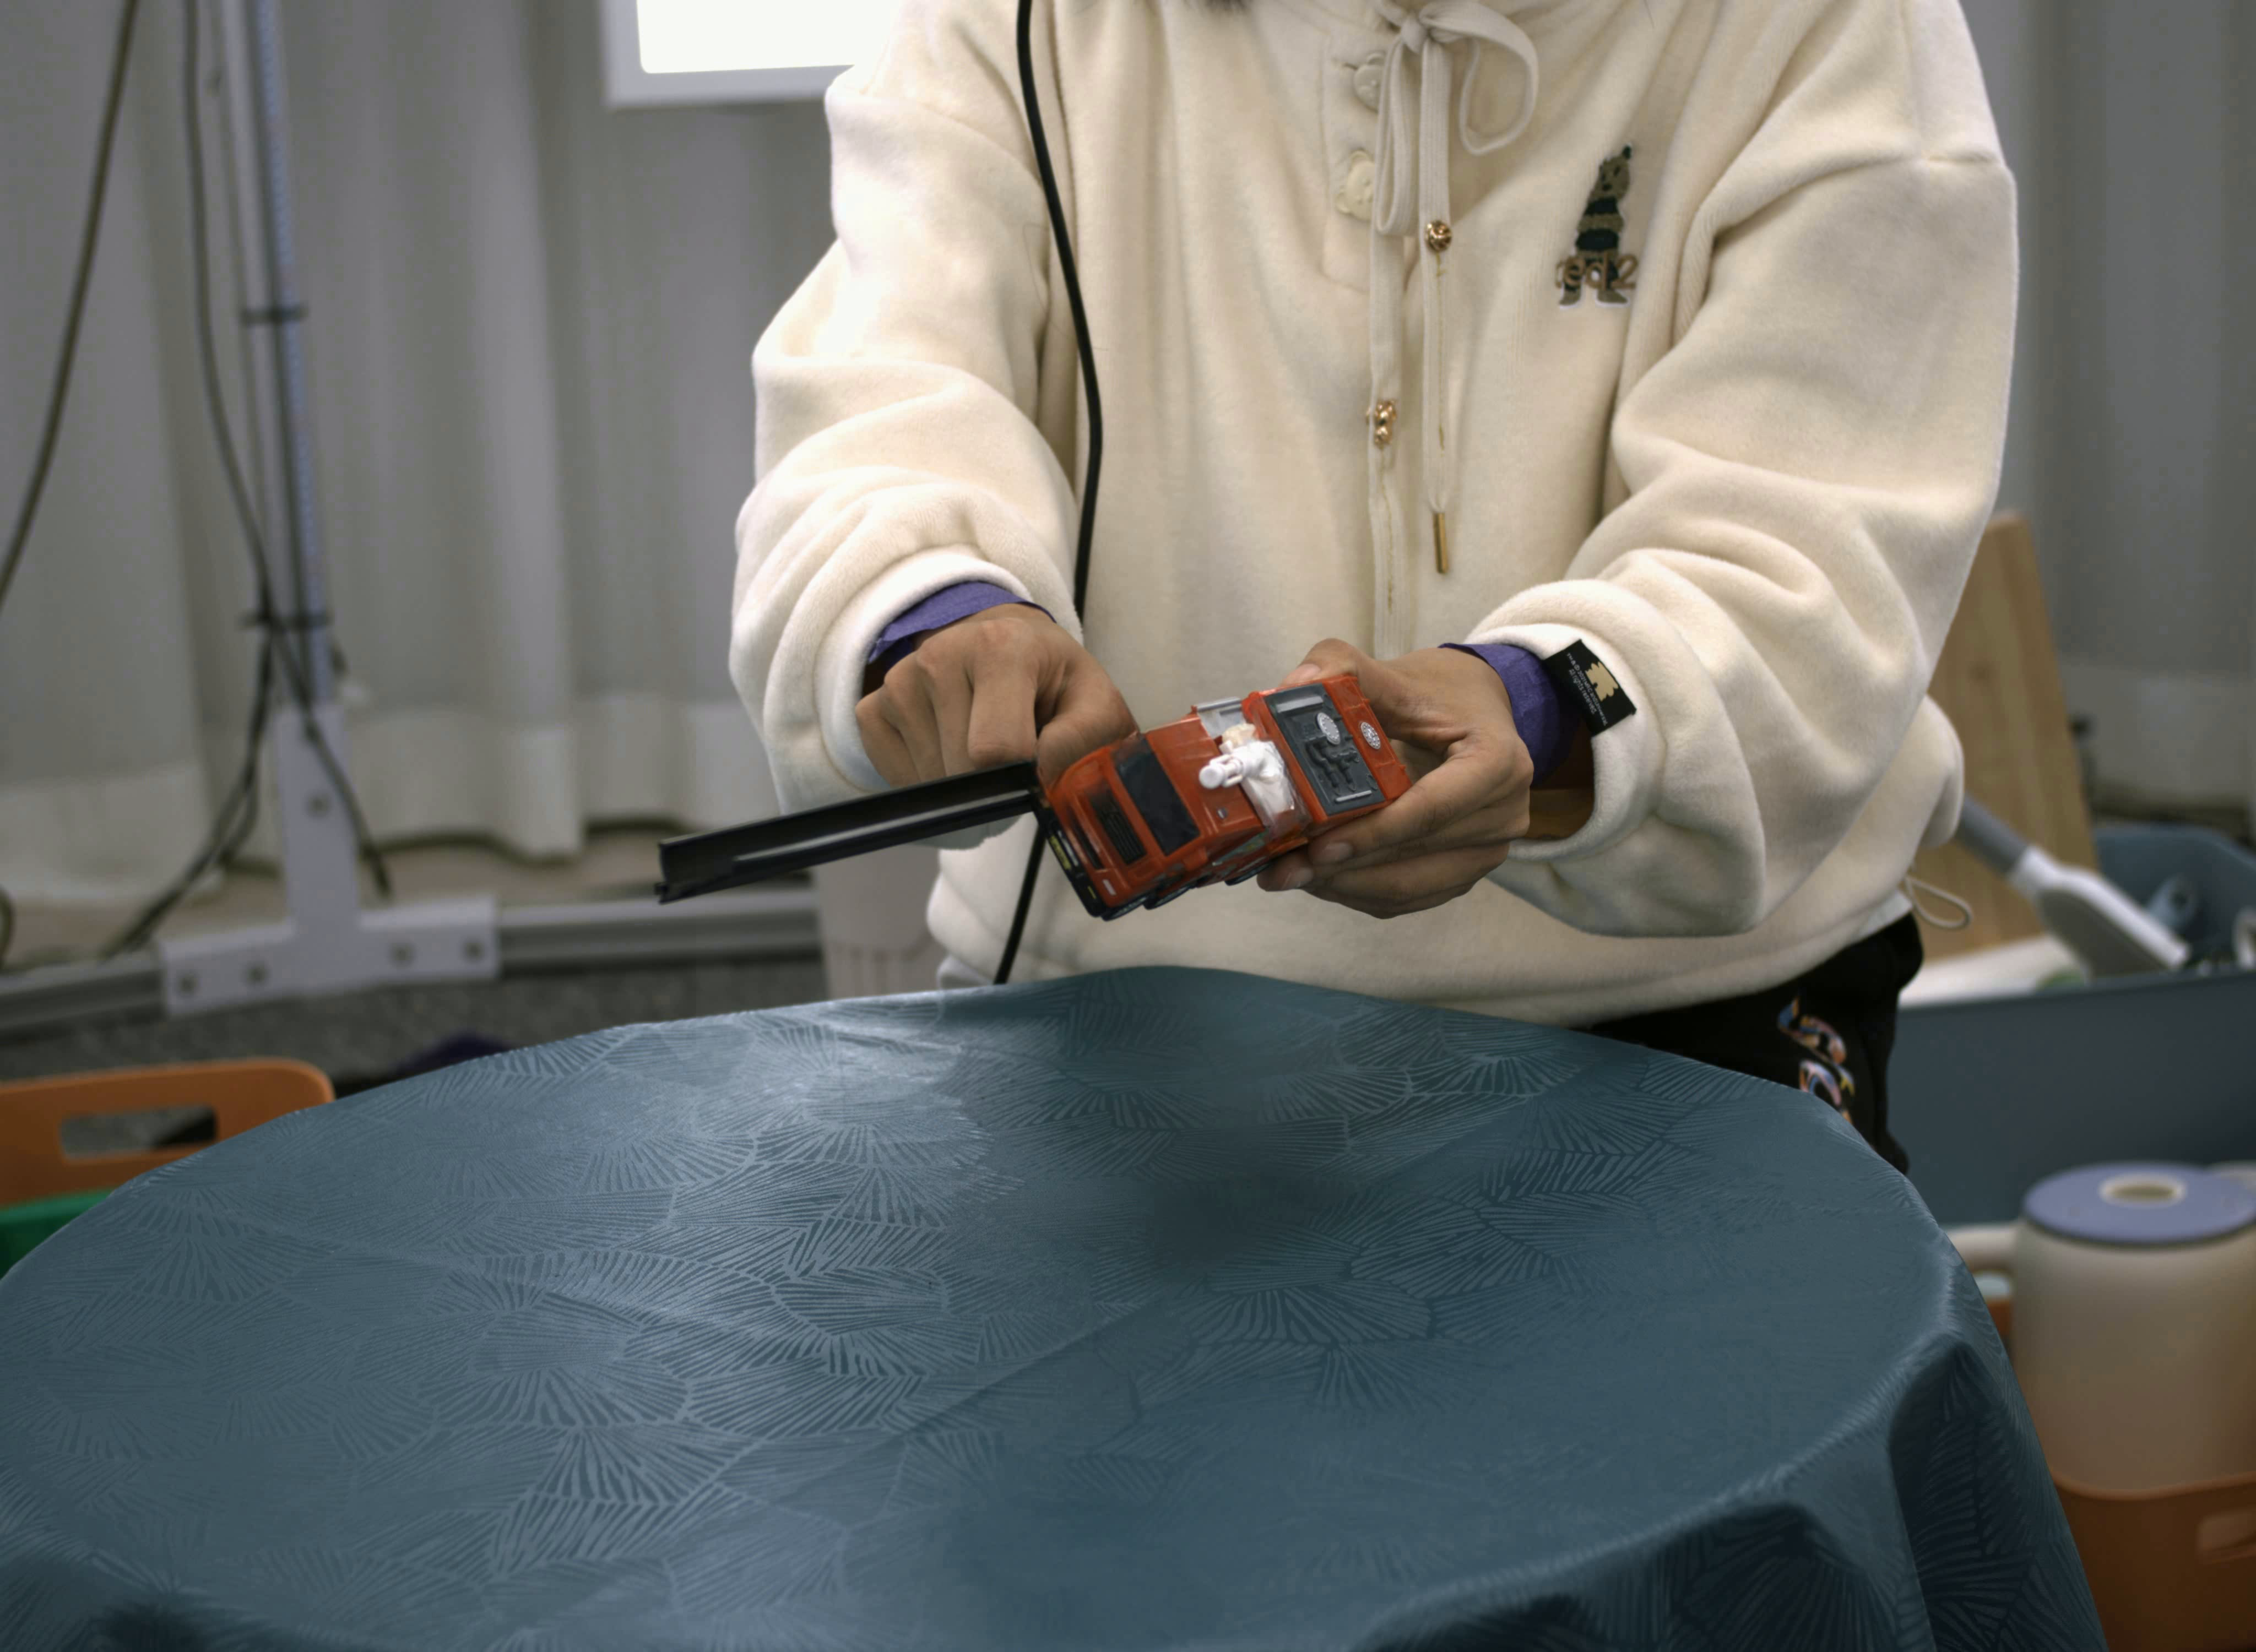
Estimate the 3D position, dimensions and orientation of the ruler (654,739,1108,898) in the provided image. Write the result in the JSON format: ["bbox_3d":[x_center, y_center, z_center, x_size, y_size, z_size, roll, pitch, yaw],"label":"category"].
[{"bbox_3d":[-0.047,-0.010,1.597,0.039,0.017,0.312,-19,-2,26],"label":"ruler"}]

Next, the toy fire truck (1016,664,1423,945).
[{"bbox_3d":[0.030,-0.008,1.645,0.070,0.054,0.167,-32,-9,23],"label":"toy fire truck"}]
